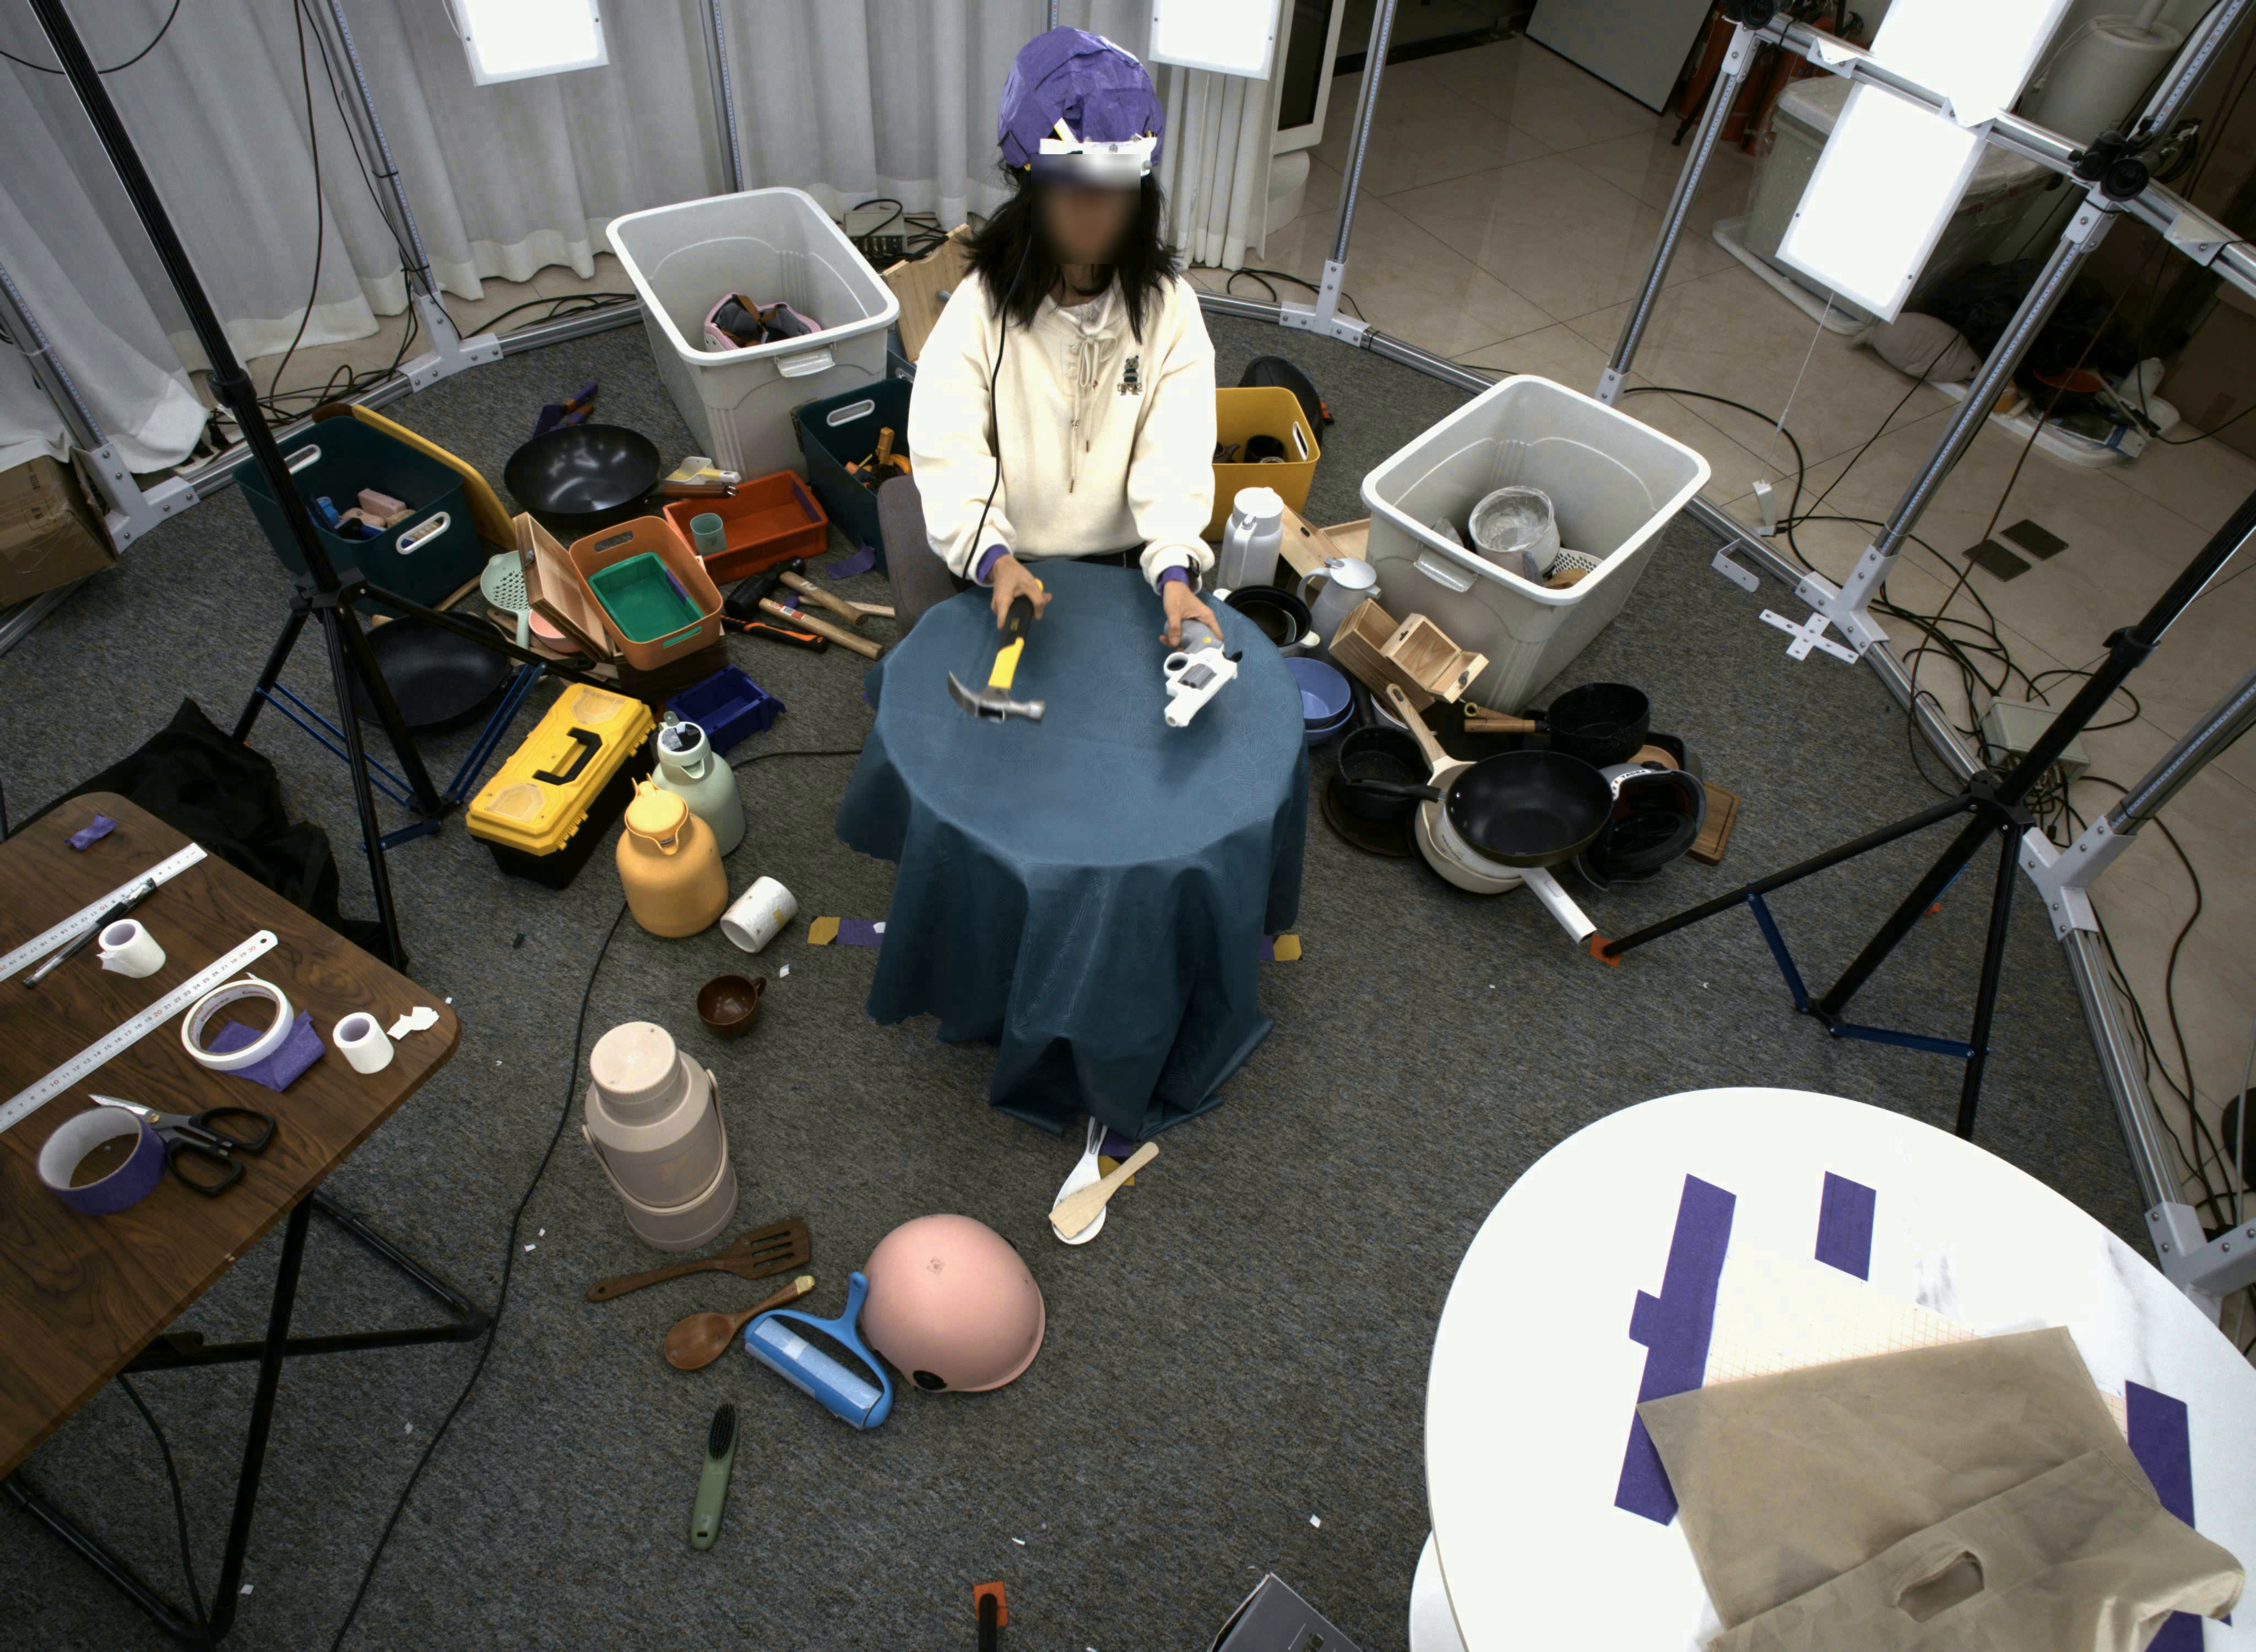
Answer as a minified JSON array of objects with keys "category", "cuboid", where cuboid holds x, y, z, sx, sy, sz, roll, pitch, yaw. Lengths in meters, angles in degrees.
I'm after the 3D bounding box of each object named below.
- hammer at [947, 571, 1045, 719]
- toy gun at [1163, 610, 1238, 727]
[{"category":"hammer","cuboid":[-0.157,-0.256,1.751,0.131,0.031,0.346,5,39,3]},{"category":"toy gun","cuboid":[0.078,-0.222,1.783,0.143,0.038,0.212,21,50,25]}]
